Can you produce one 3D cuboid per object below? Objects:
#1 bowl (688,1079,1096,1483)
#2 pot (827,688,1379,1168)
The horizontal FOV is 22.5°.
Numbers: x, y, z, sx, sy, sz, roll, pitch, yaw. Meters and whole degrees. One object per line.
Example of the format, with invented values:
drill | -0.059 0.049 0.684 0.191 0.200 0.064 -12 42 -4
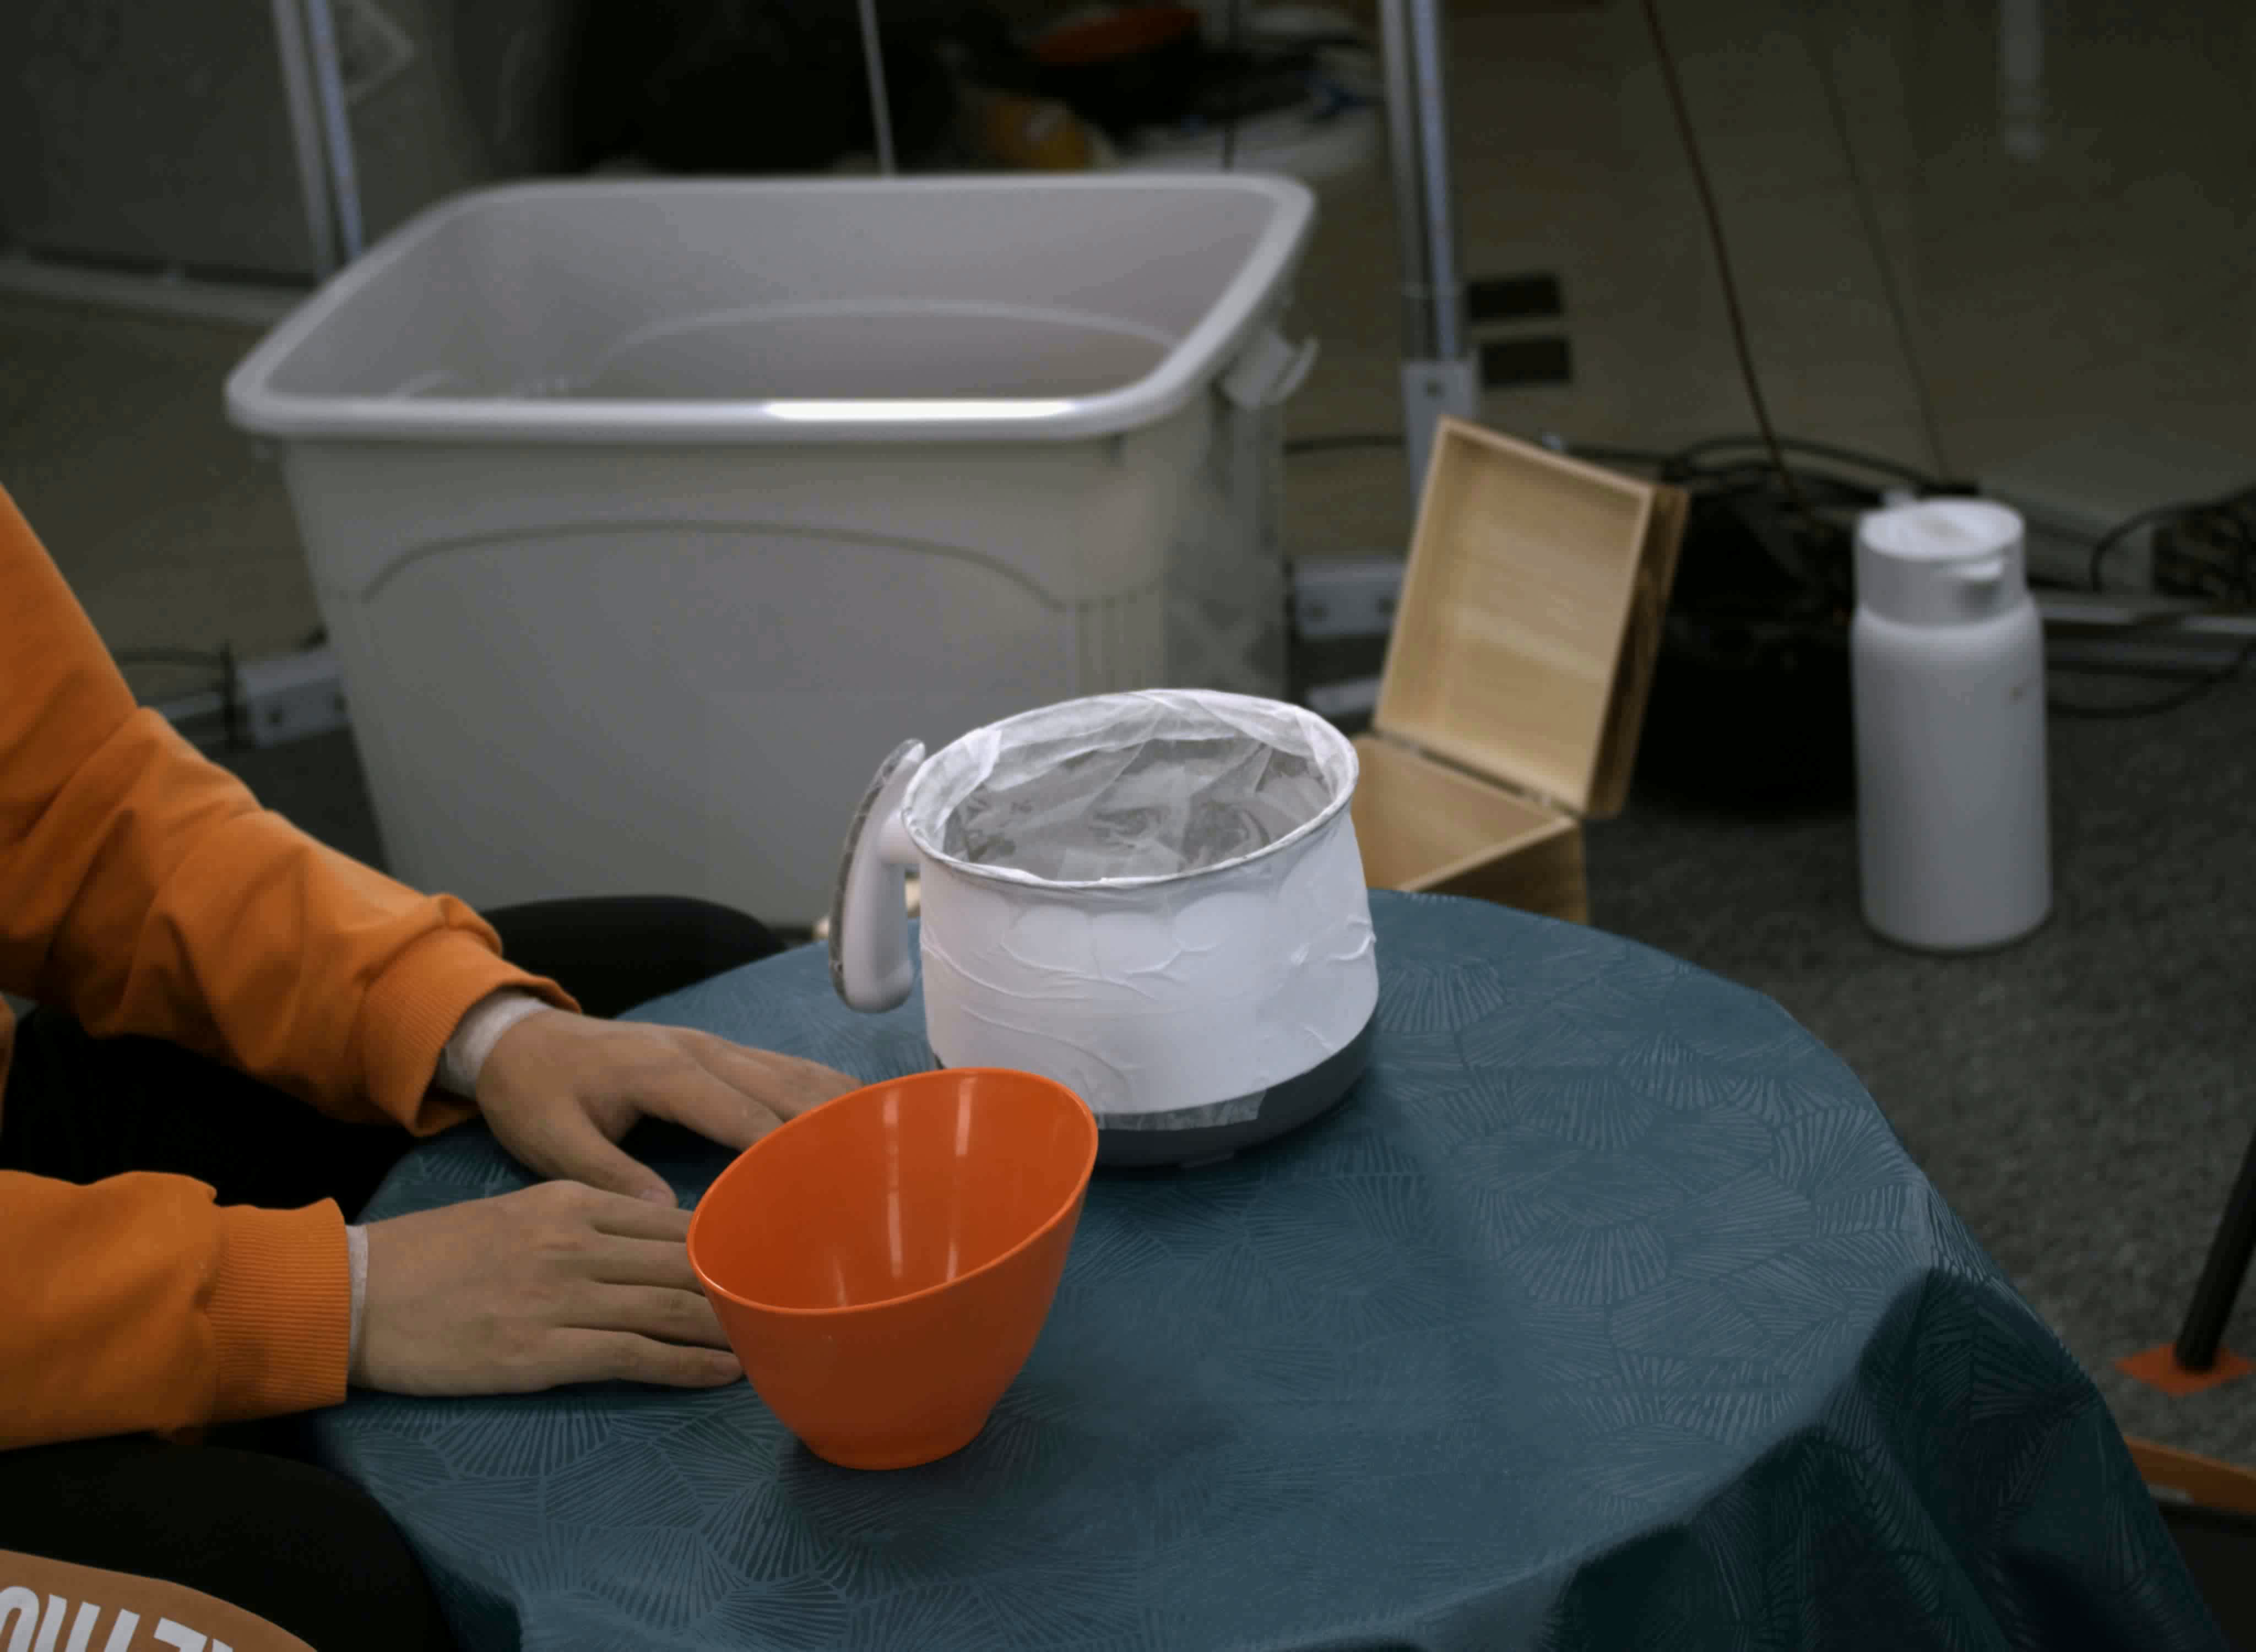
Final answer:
bowl | -0.077 0.166 1.994 0.148 0.106 0.146 -7 25 3
pot | -0.017 0.037 2.203 0.233 0.139 0.176 8 29 28
